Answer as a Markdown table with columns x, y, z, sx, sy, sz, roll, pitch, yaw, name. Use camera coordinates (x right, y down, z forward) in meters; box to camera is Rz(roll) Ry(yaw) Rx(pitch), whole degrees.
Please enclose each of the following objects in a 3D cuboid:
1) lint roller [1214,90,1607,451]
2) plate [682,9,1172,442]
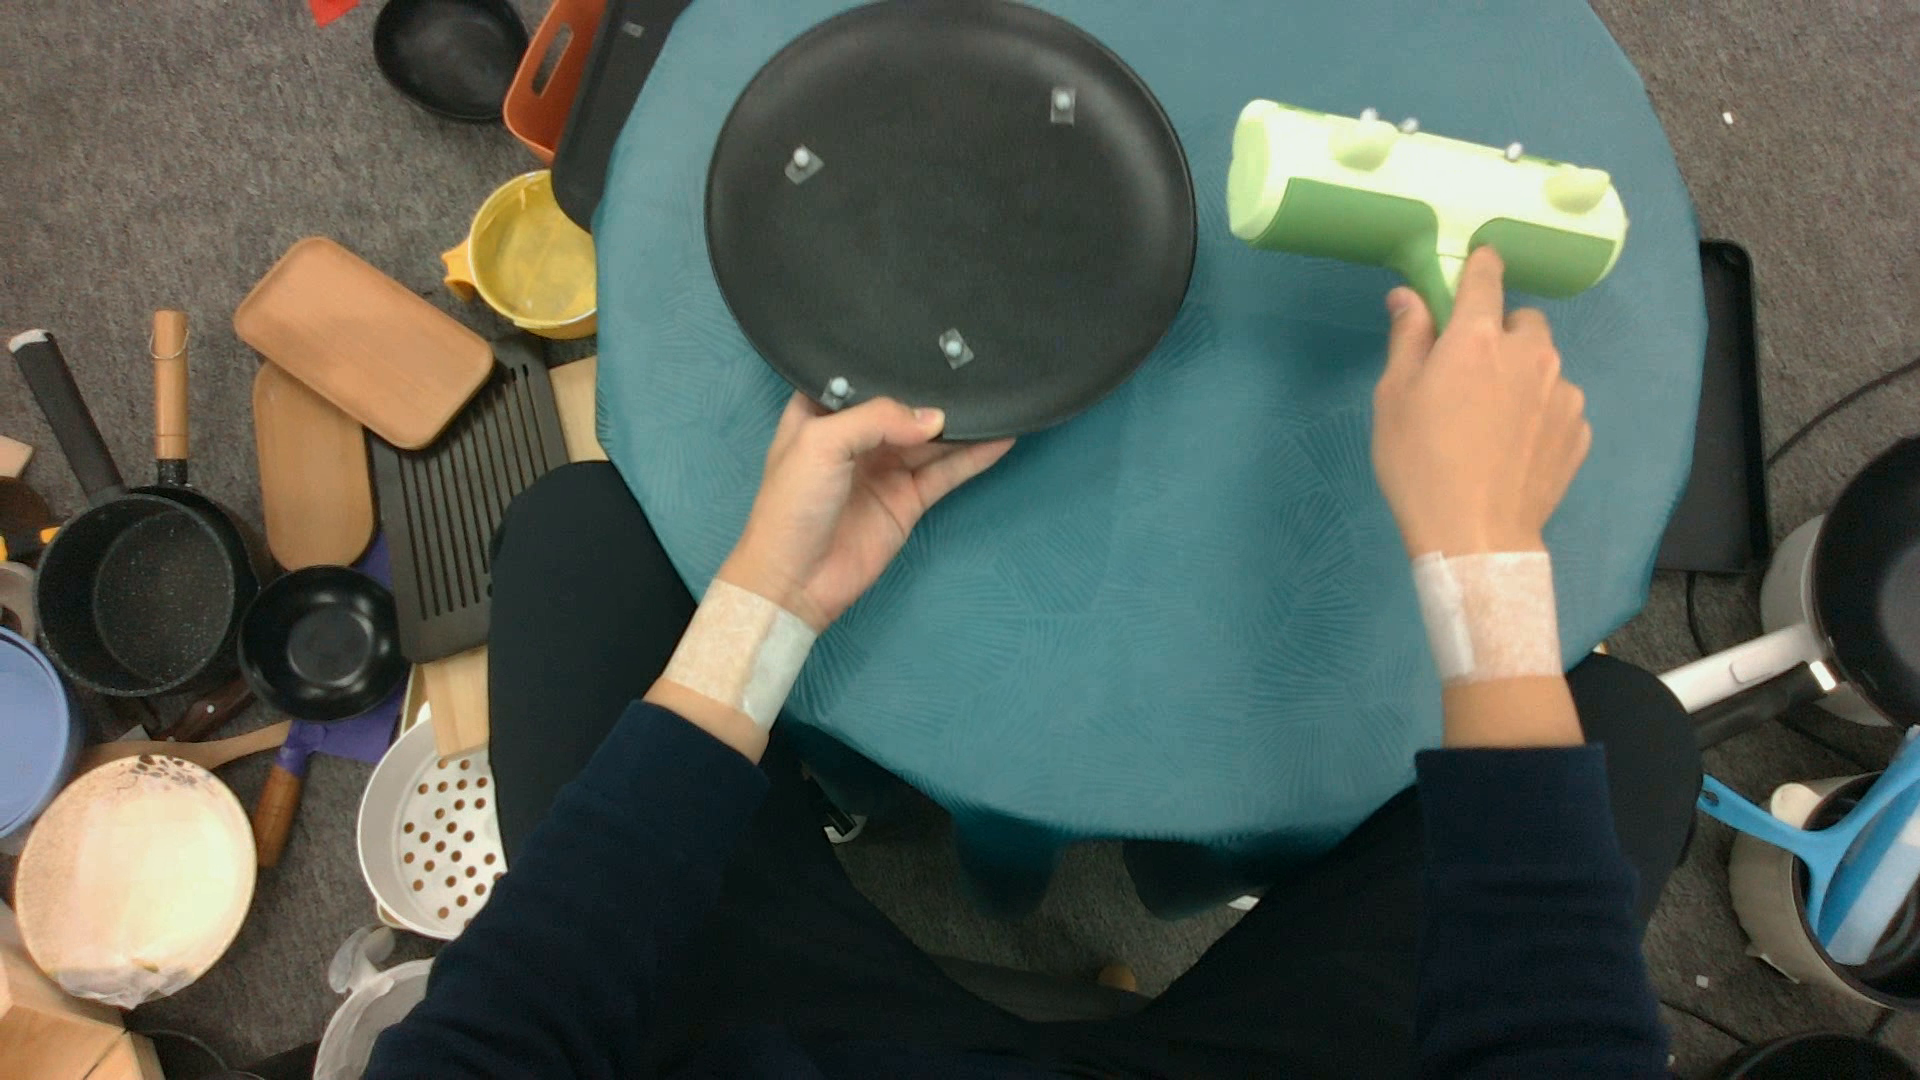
| x | y | z | sx | sy | sz | roll | pitch | yaw | name |
| --- | --- | --- | --- | --- | --- | --- | --- | --- | --- |
| 0.227 | -0.133 | 0.628 | 0.199 | 0.082 | 0.184 | 3 | 53 | -17 | lint roller |
| -0.016 | -0.159 | 0.693 | 0.244 | 0.023 | 0.245 | 1 | 72 | -2 | plate |
